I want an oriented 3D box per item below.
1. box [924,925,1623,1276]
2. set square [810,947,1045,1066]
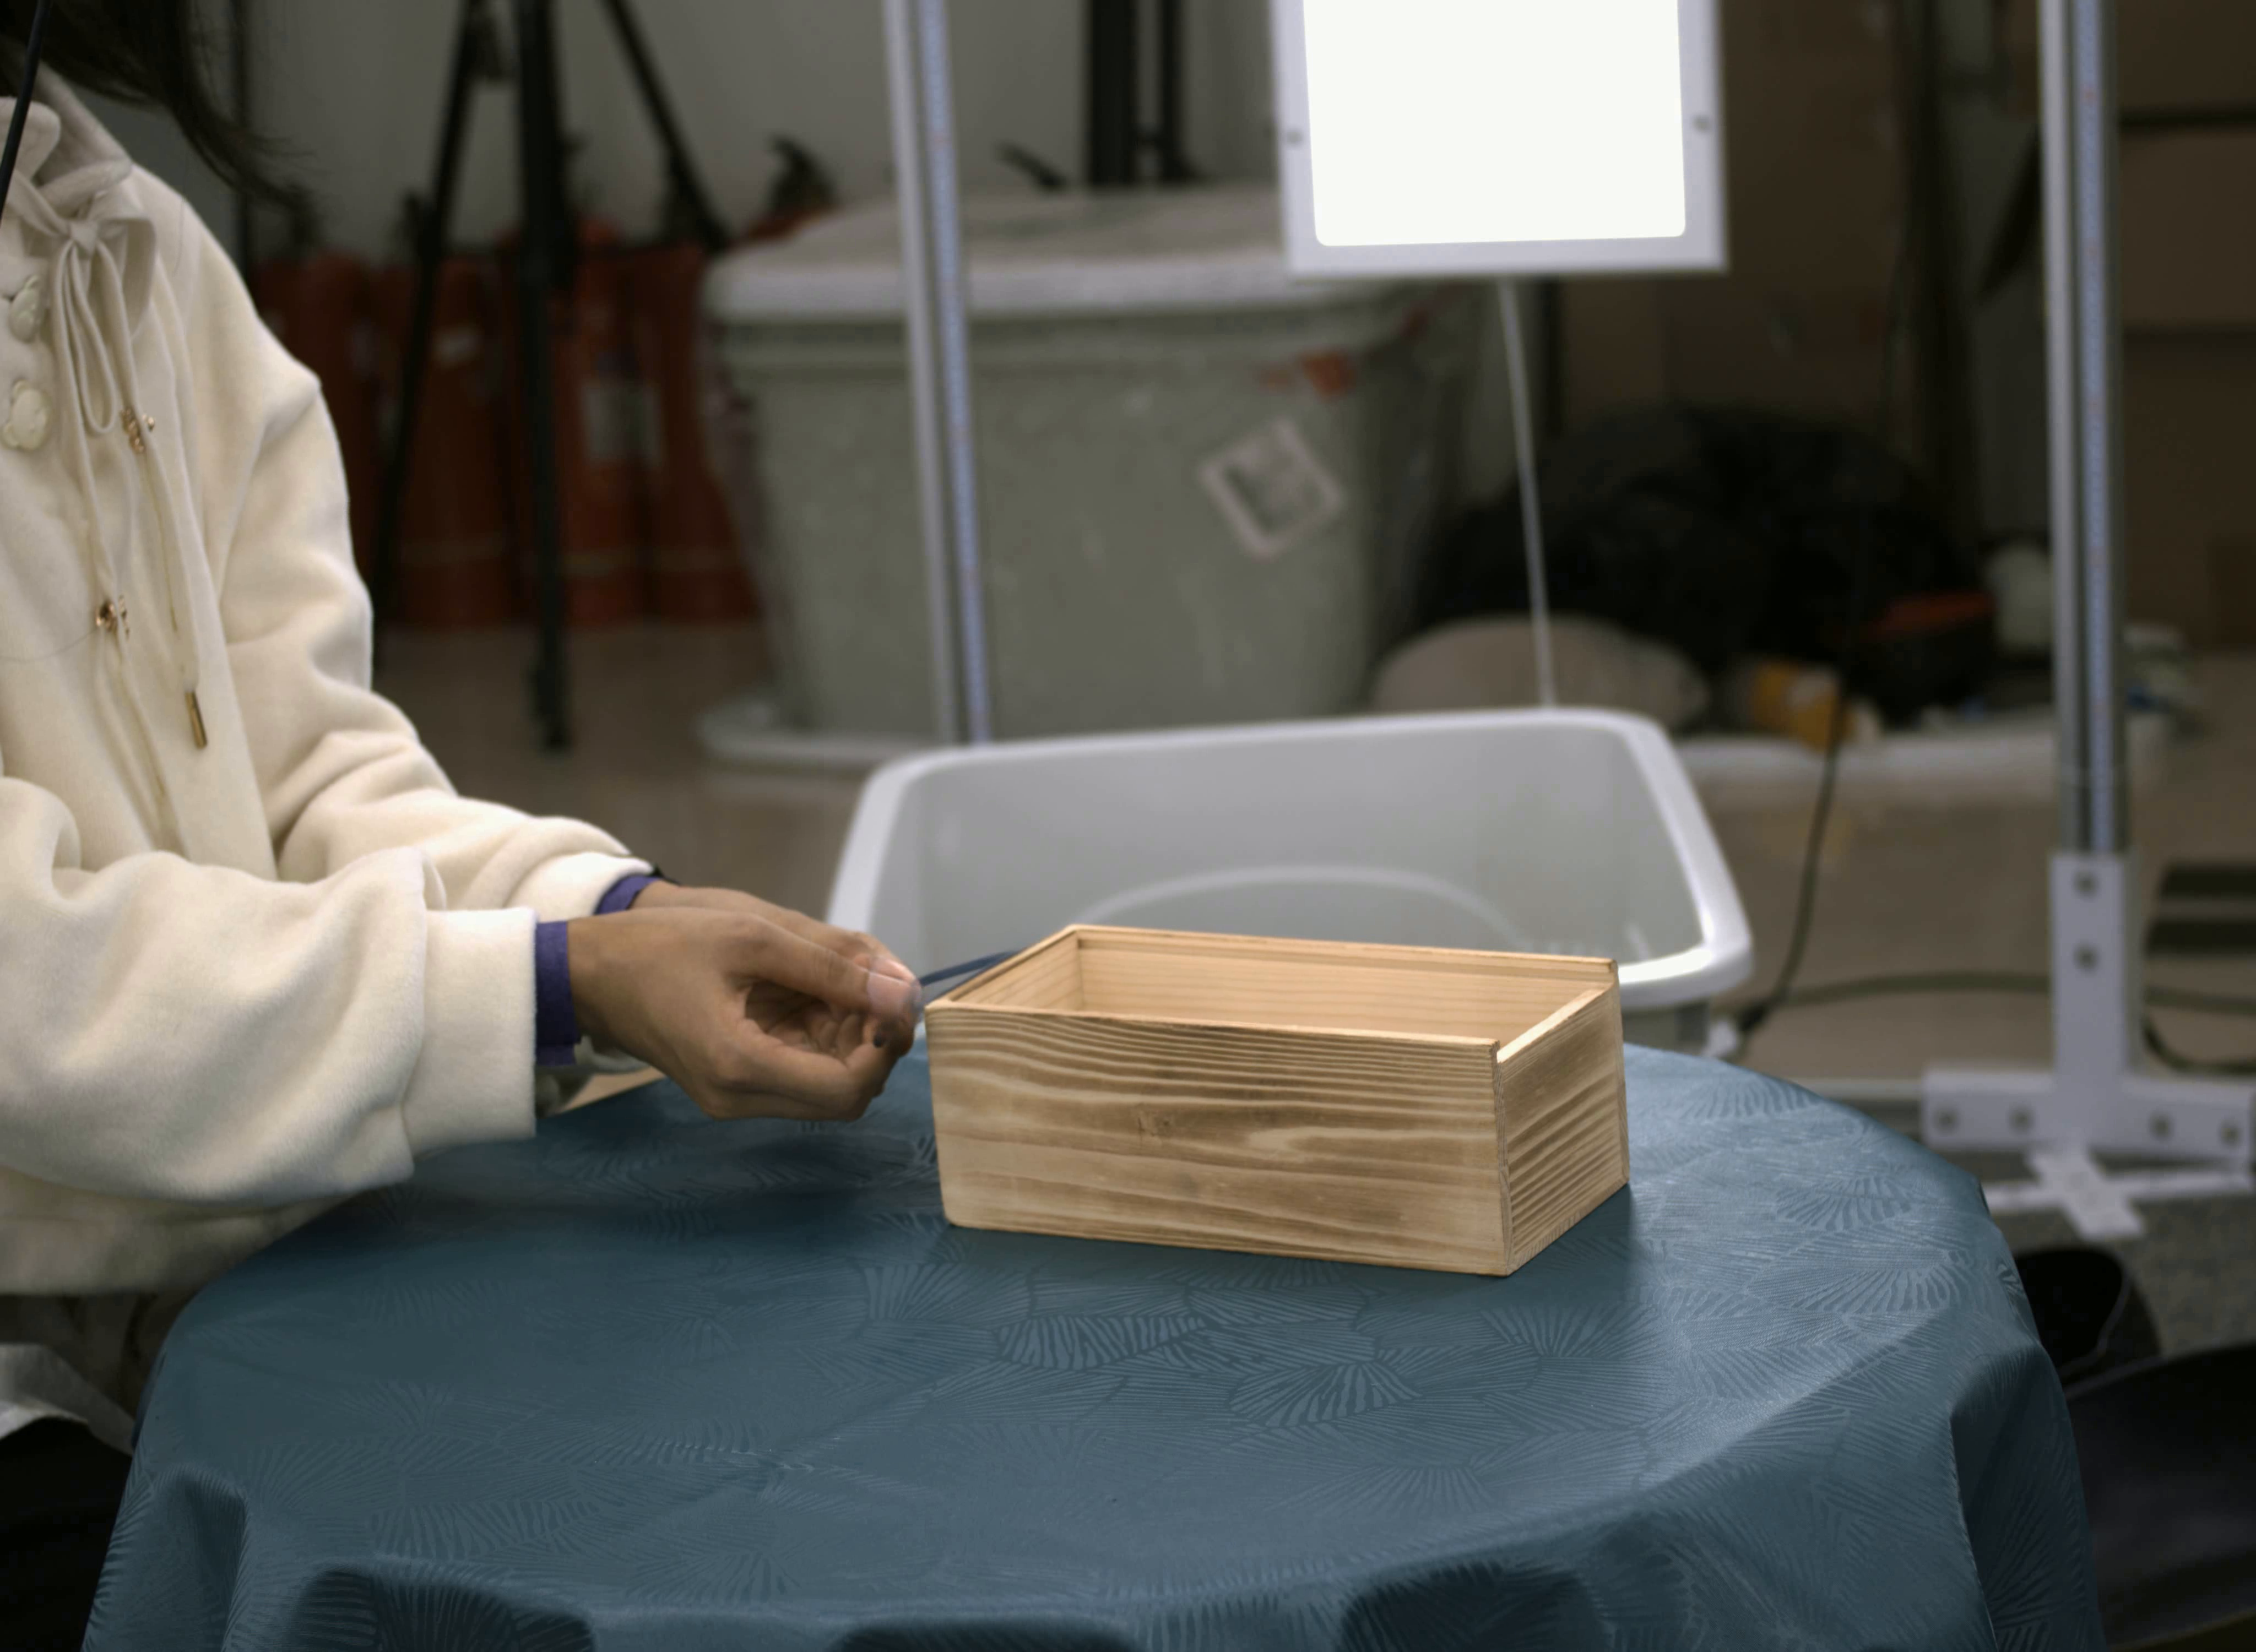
[{"bbox_3d":[0.050,0.090,1.860,0.215,0.080,0.105,3,15,29],"label":"box"},{"bbox_3d":[-0.086,0.064,1.907,0.062,0.006,0.129,-9,11,36],"label":"set square"}]
